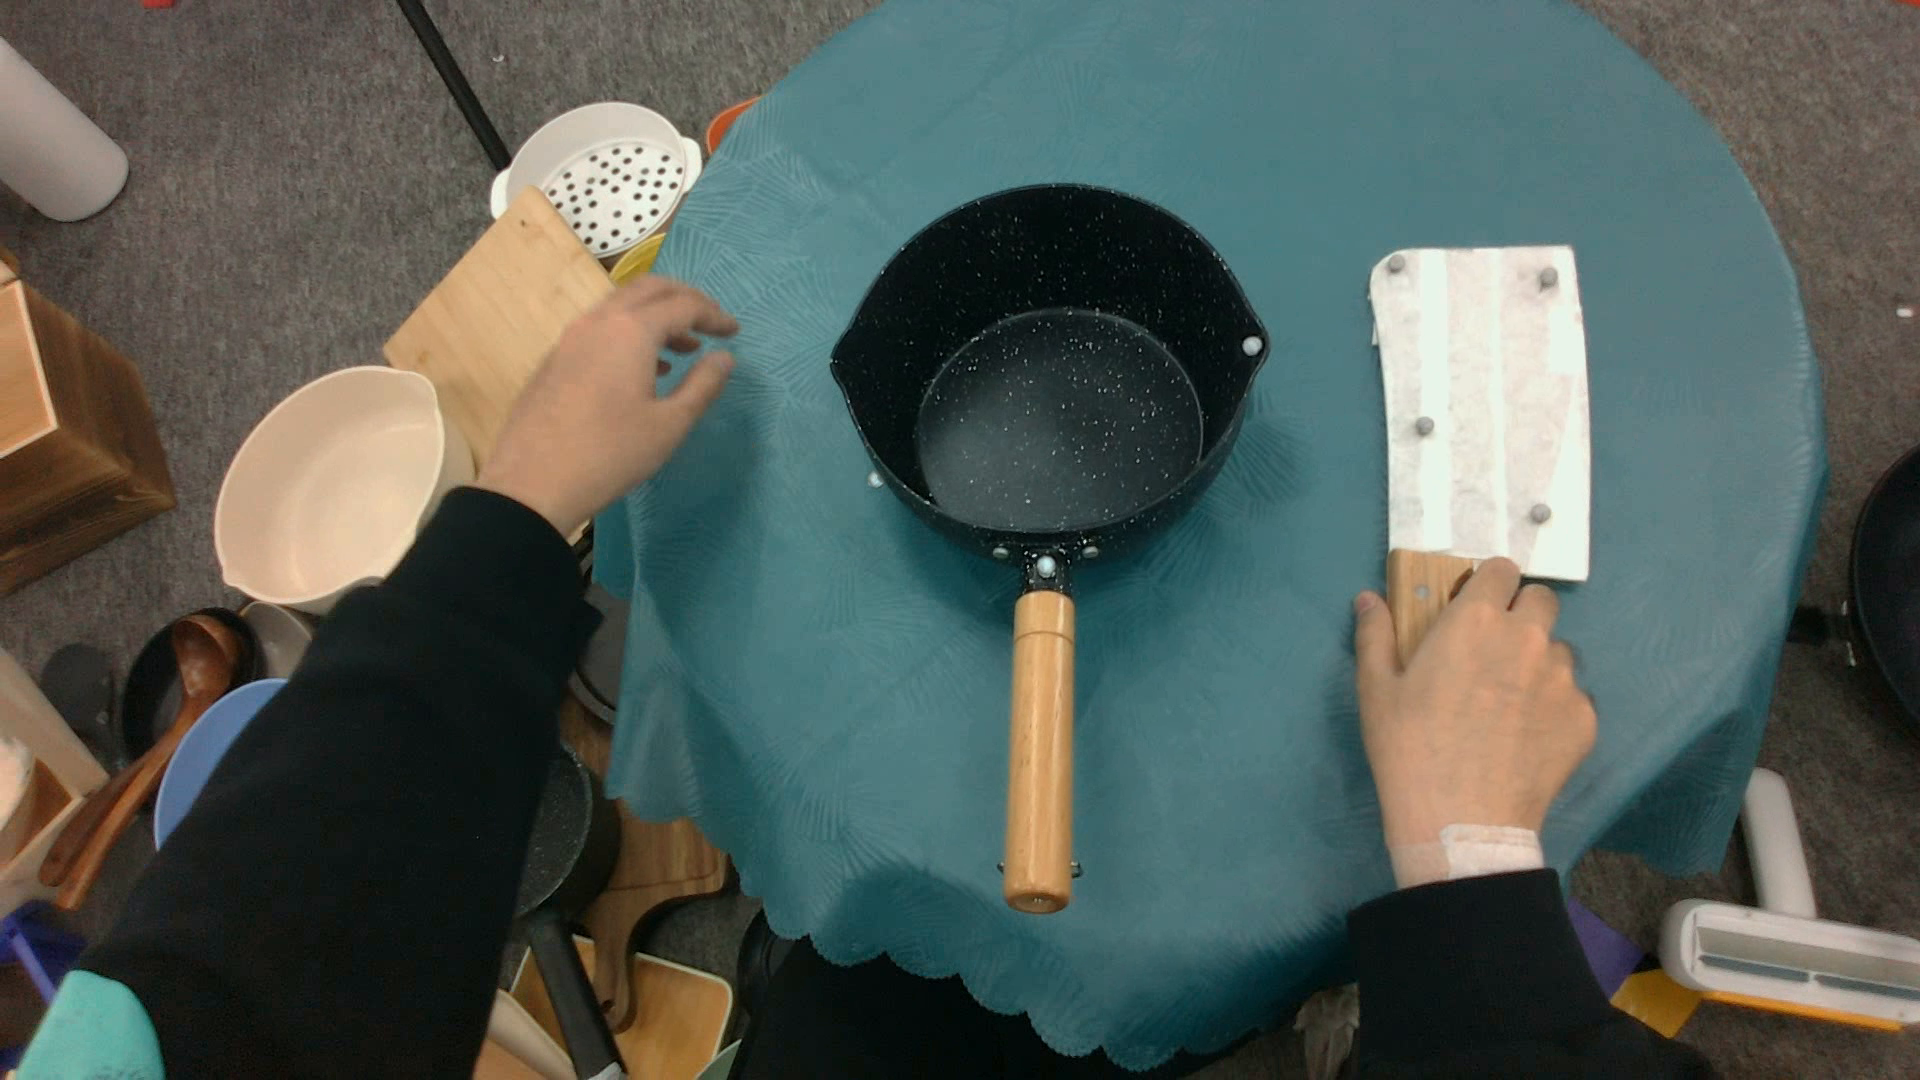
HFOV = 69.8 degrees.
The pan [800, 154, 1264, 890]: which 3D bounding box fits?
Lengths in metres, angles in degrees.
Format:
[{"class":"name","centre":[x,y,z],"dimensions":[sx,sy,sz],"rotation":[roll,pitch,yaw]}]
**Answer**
[{"class":"pan","centre":[0.034,-0.012,0.613],"dimensions":[0.207,0.108,0.344],"rotation":[-3,66,6]}]

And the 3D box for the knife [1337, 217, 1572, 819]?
[{"class":"knife","centre":[0.225,-0.025,0.641],"dimensions":[0.114,0.021,0.316],"rotation":[7,66,11]}]
